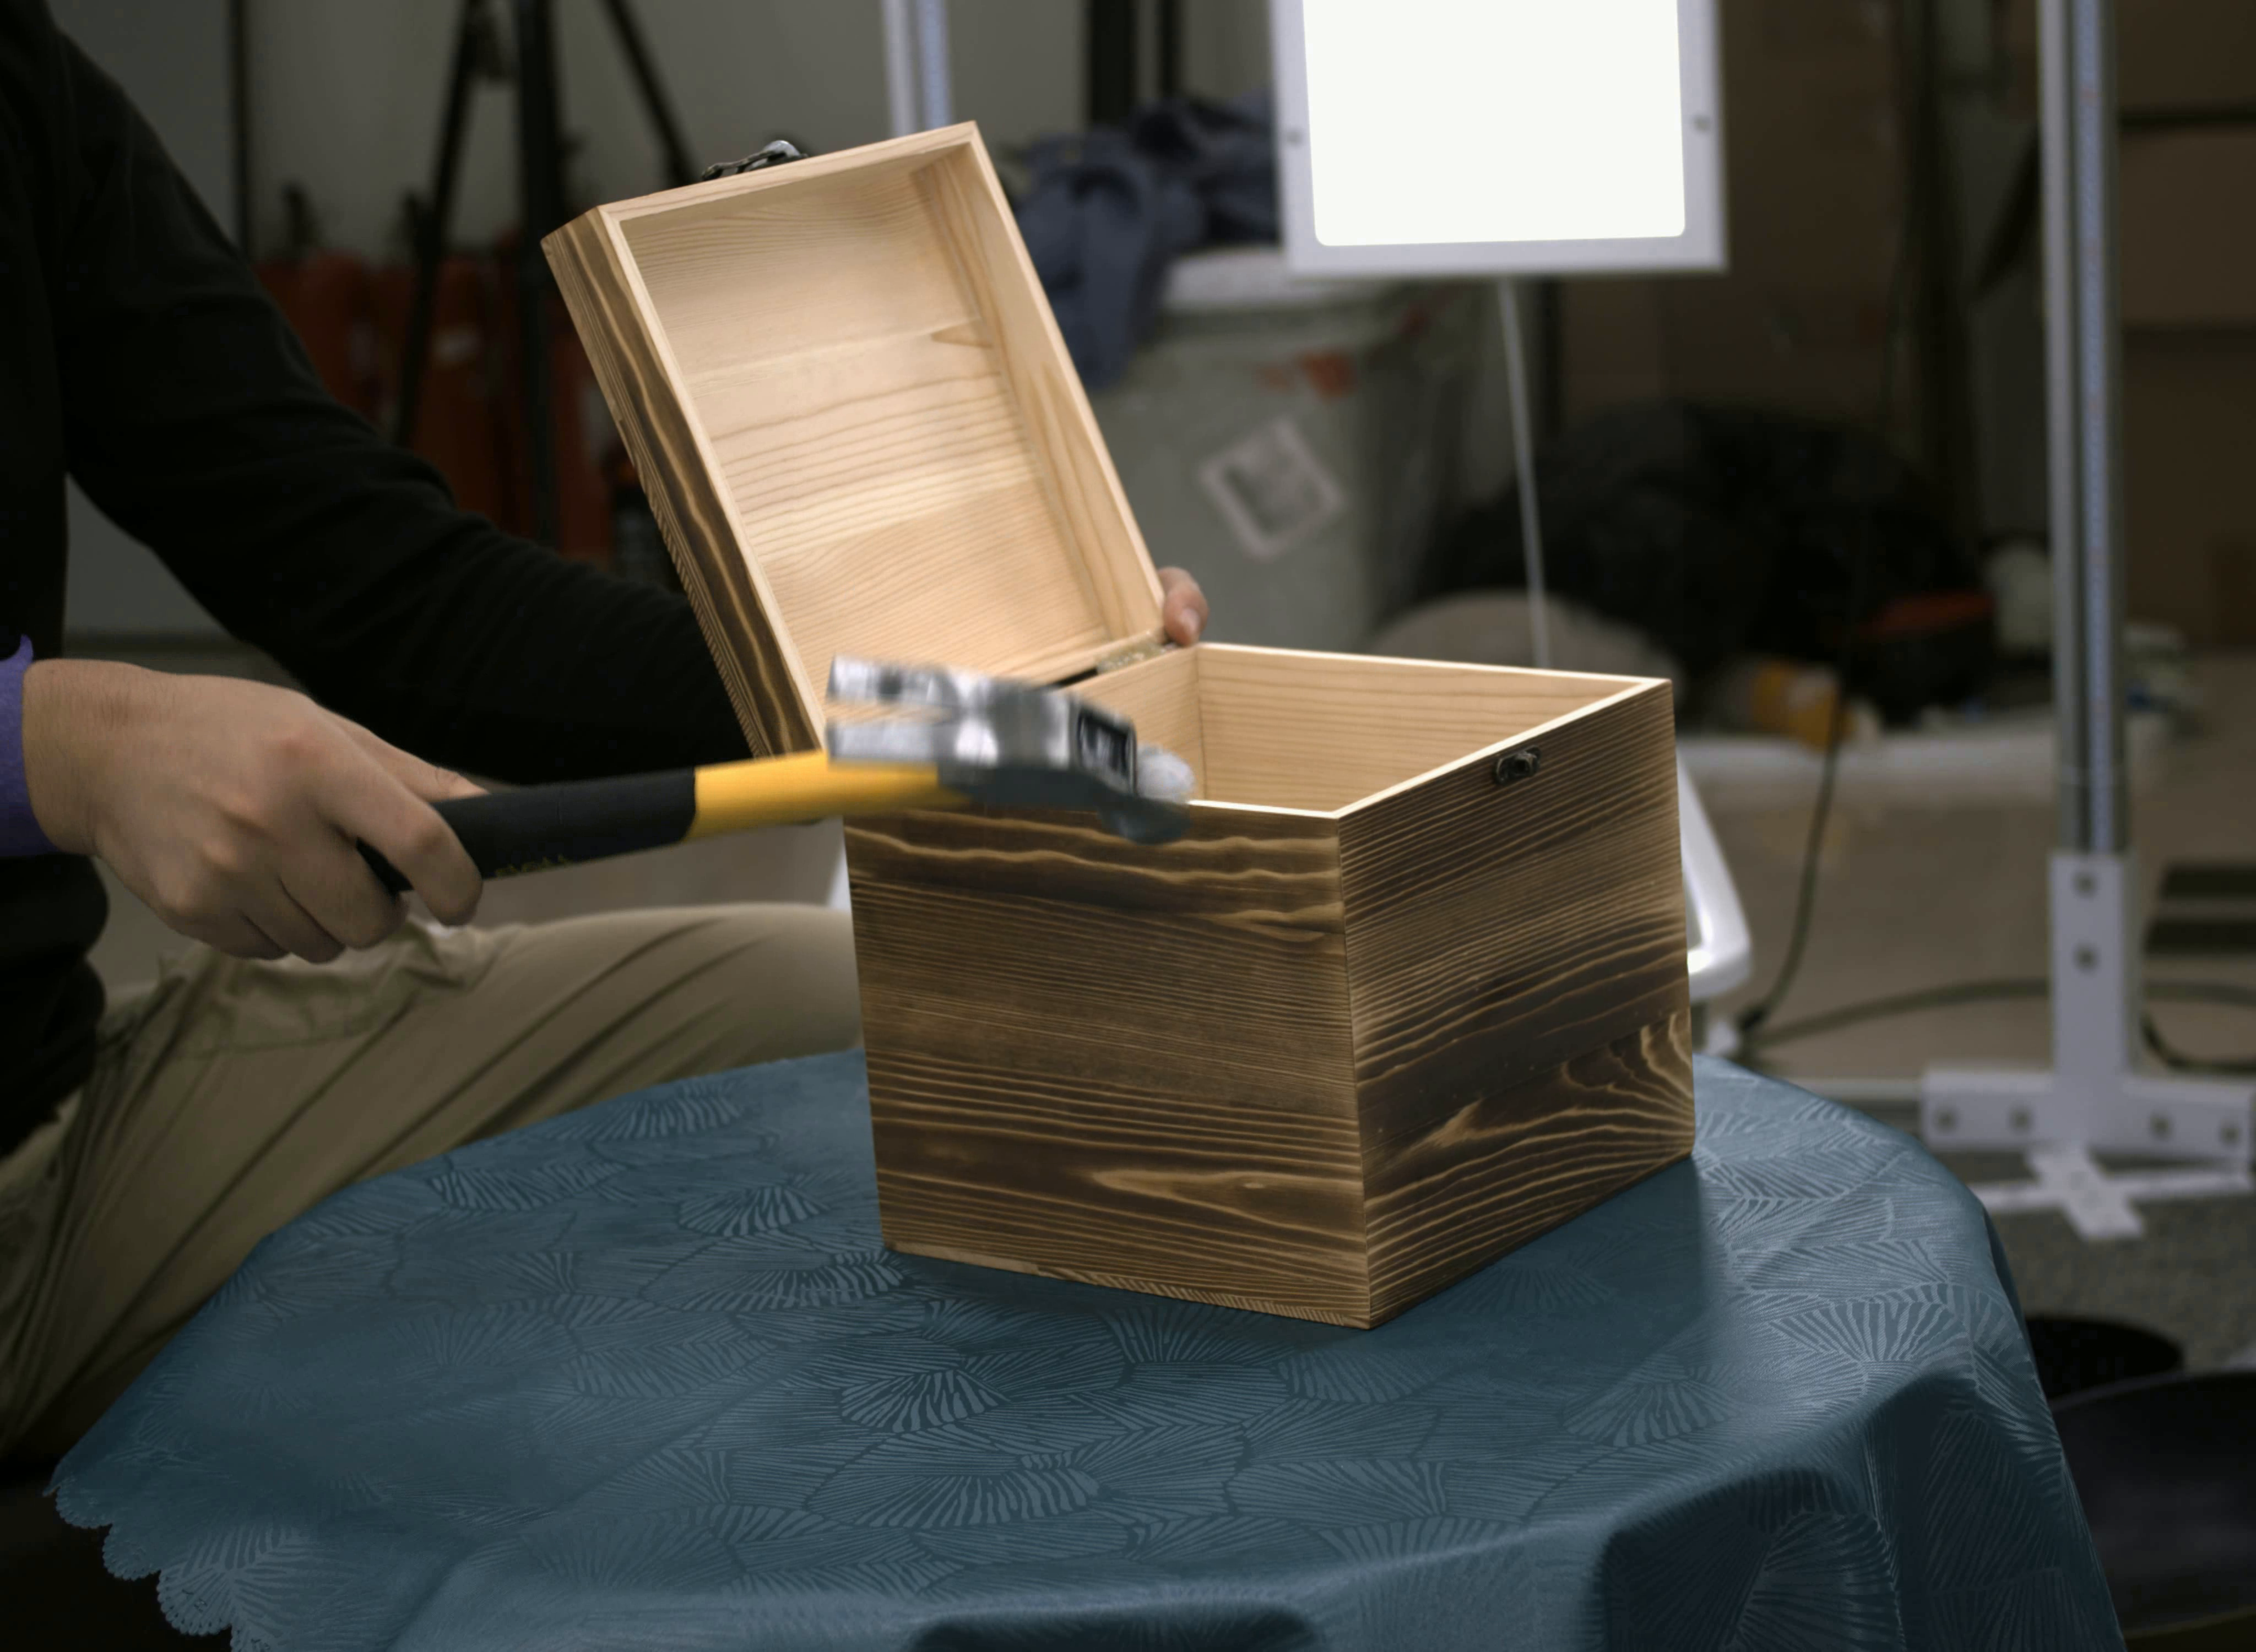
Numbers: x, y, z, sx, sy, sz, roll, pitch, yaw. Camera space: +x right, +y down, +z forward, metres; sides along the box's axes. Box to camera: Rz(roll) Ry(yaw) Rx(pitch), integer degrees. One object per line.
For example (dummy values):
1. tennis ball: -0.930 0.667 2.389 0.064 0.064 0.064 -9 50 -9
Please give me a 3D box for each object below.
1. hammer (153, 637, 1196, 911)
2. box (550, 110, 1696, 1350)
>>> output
1. hammer: -0.157 -0.009 1.701 0.344 0.032 0.129 -8 -19 28
2. box: 0.000 -0.048 1.860 0.329 0.377 0.203 5 17 38
